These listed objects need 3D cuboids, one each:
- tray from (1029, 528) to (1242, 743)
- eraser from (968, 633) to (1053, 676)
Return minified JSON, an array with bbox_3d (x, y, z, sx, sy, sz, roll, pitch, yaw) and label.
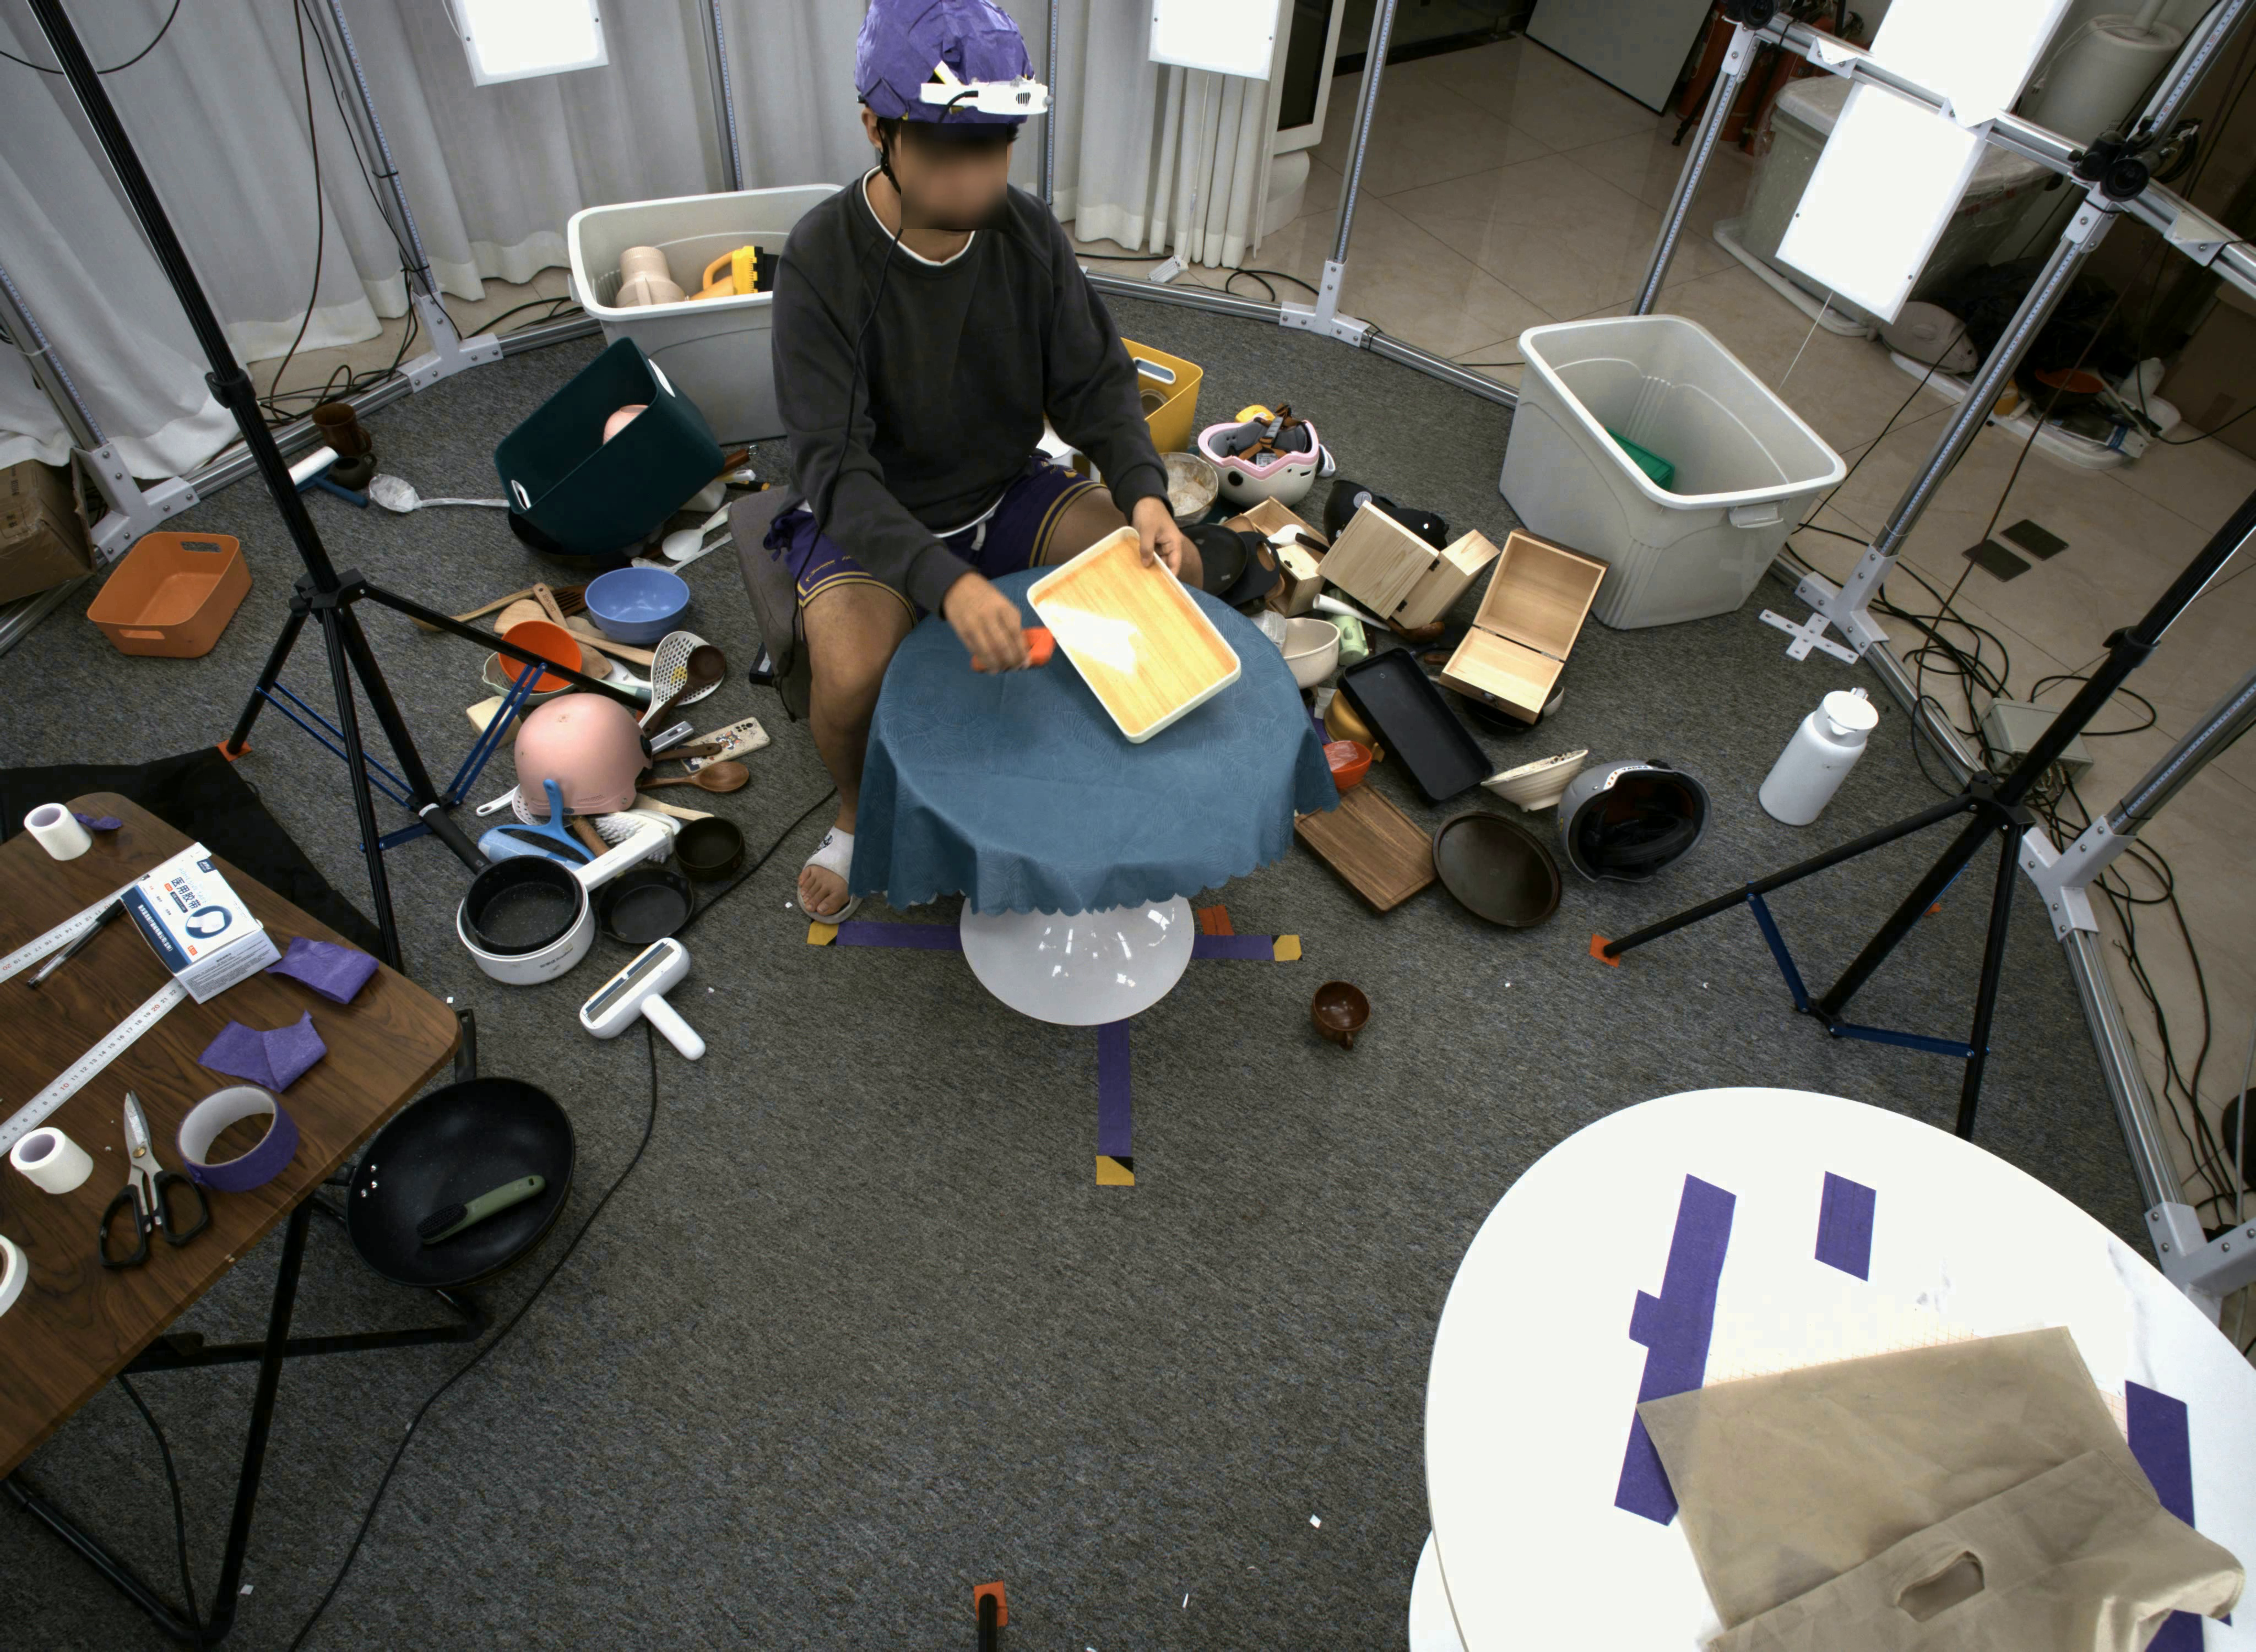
[{"bbox_3d":[0.007,-0.275,1.823,0.192,0.027,0.306,-33,64,-3],"label":"tray"},{"bbox_3d":[-0.159,-0.232,1.741,0.108,0.022,0.060,-1,50,21],"label":"eraser"}]
